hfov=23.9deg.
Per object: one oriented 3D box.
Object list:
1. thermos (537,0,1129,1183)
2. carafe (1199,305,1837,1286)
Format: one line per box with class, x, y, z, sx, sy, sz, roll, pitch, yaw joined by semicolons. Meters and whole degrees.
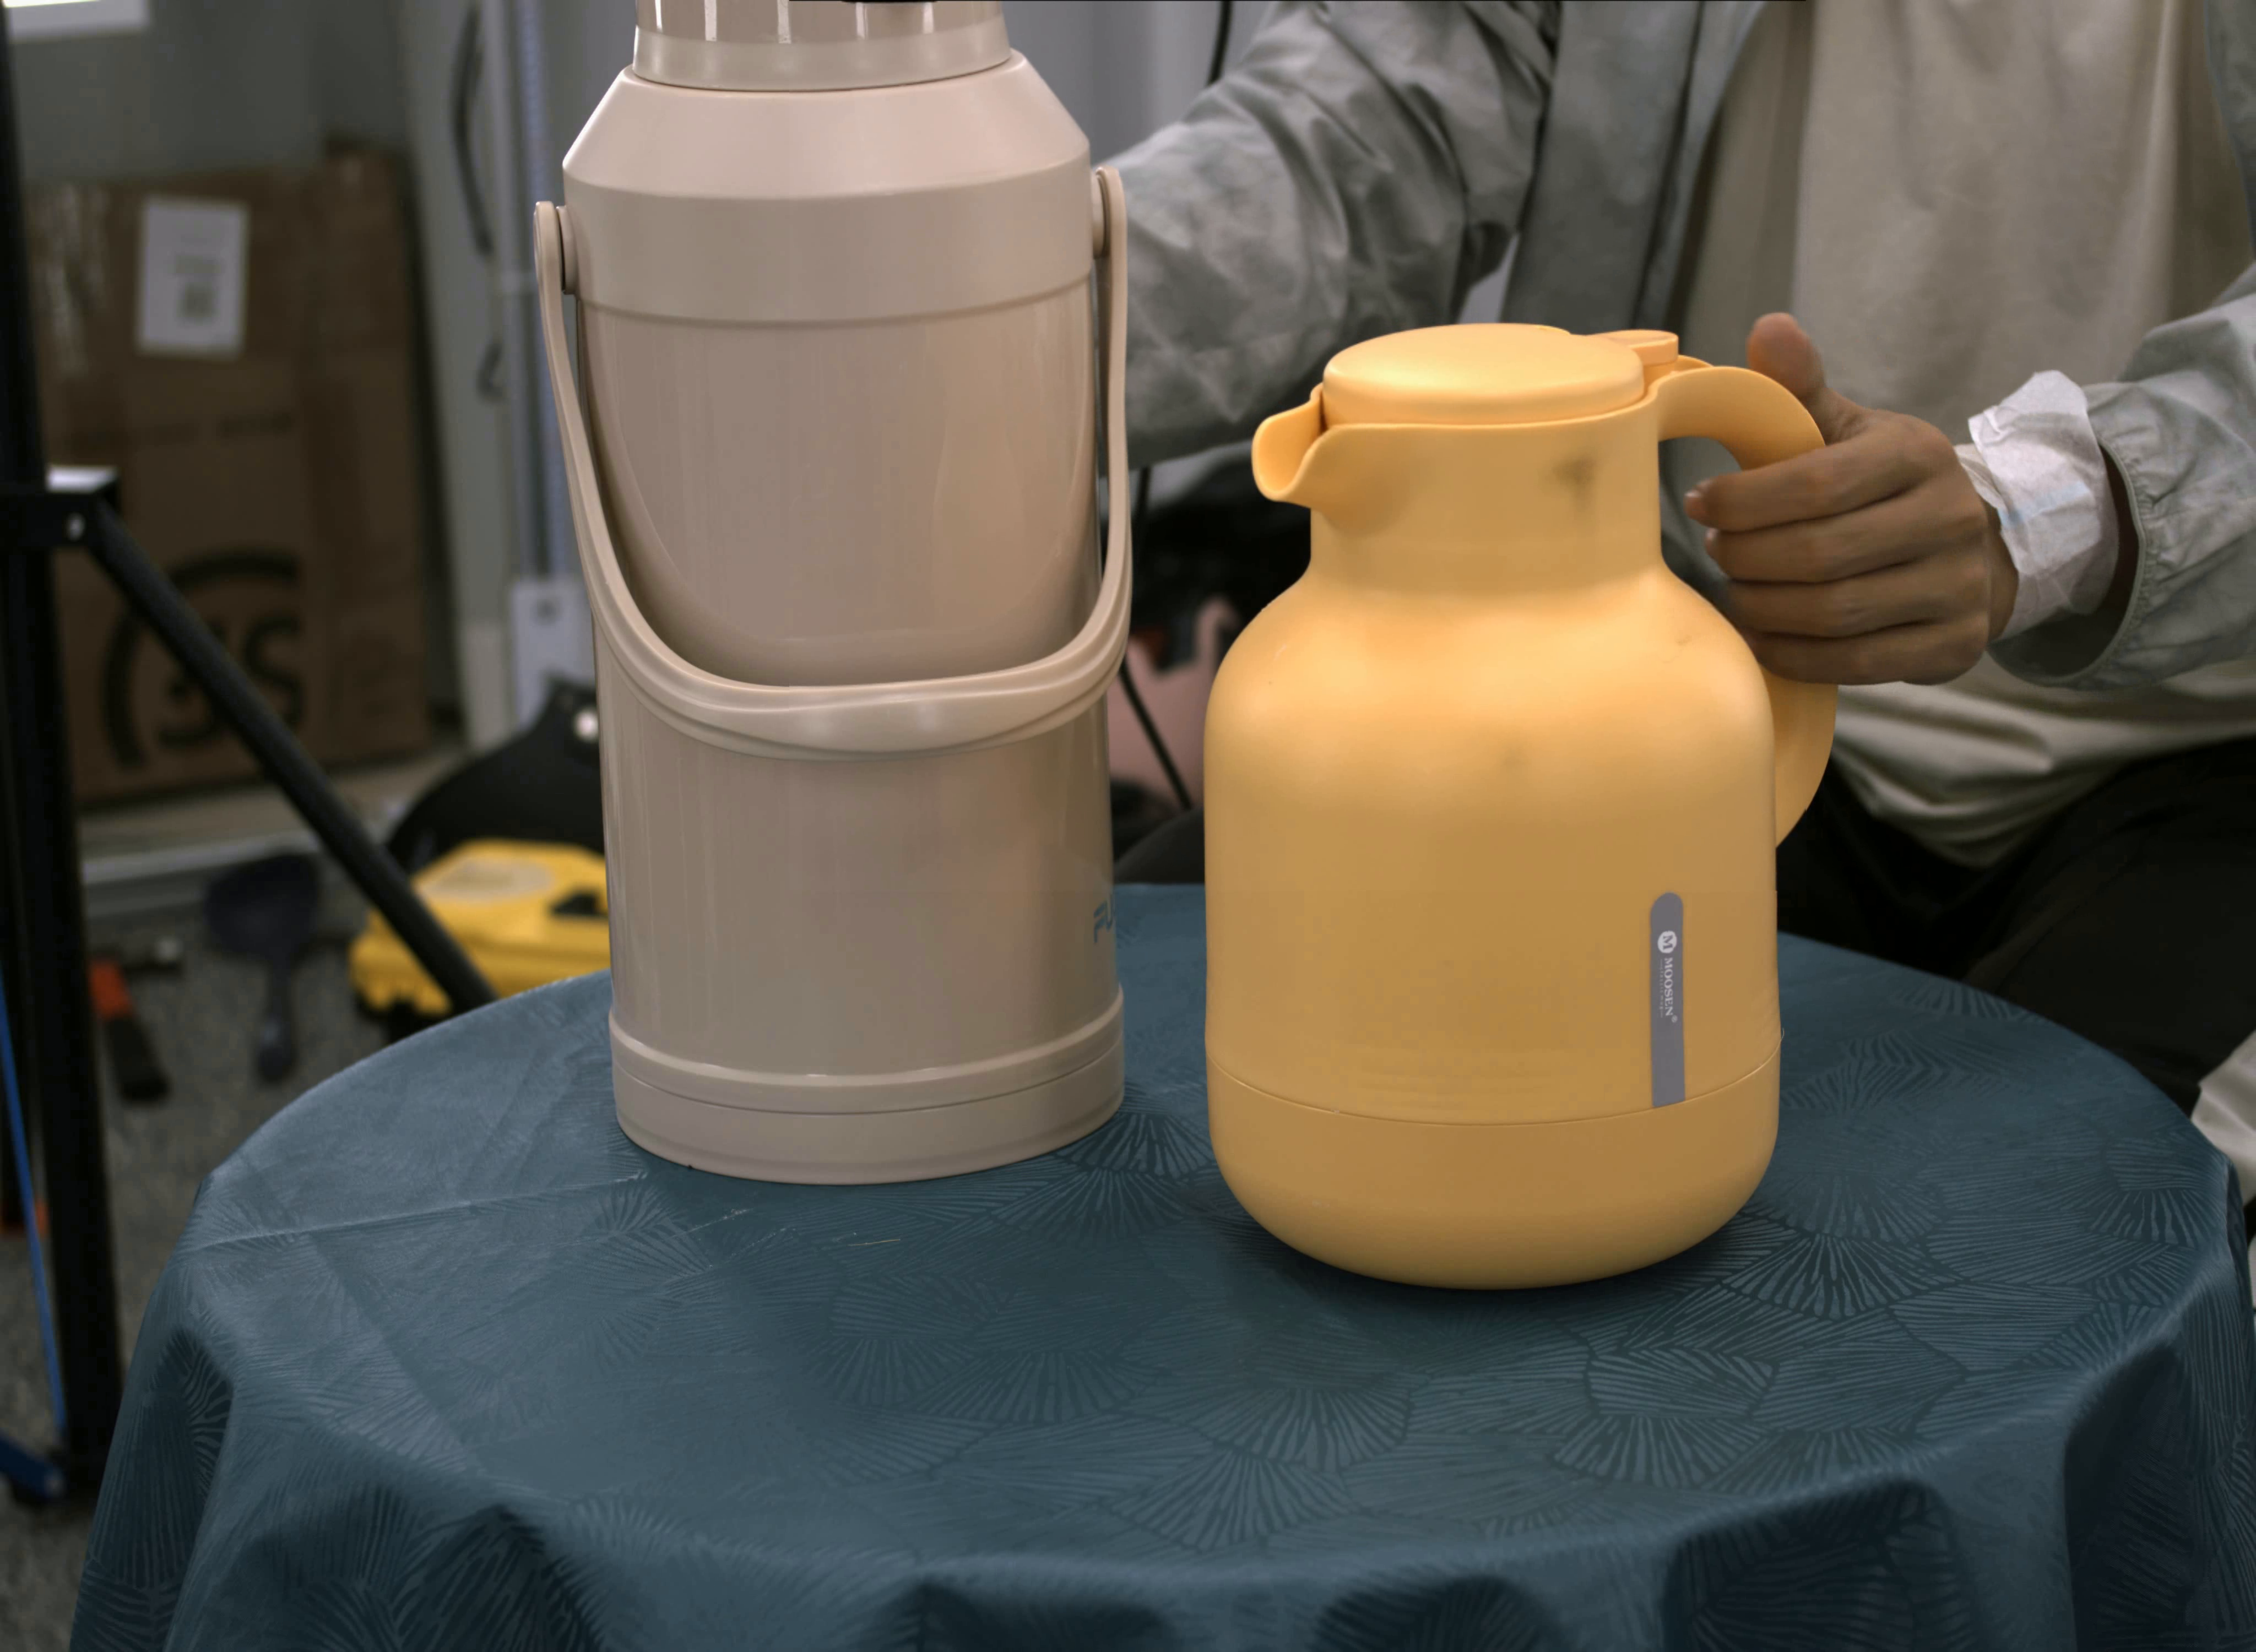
thermos;-0.087;-0.110;1.615;0.173;0.406;0.209;-5;16;-9
carafe;0.117;-0.015;1.492;0.198;0.260;0.167;-12;21;-30
